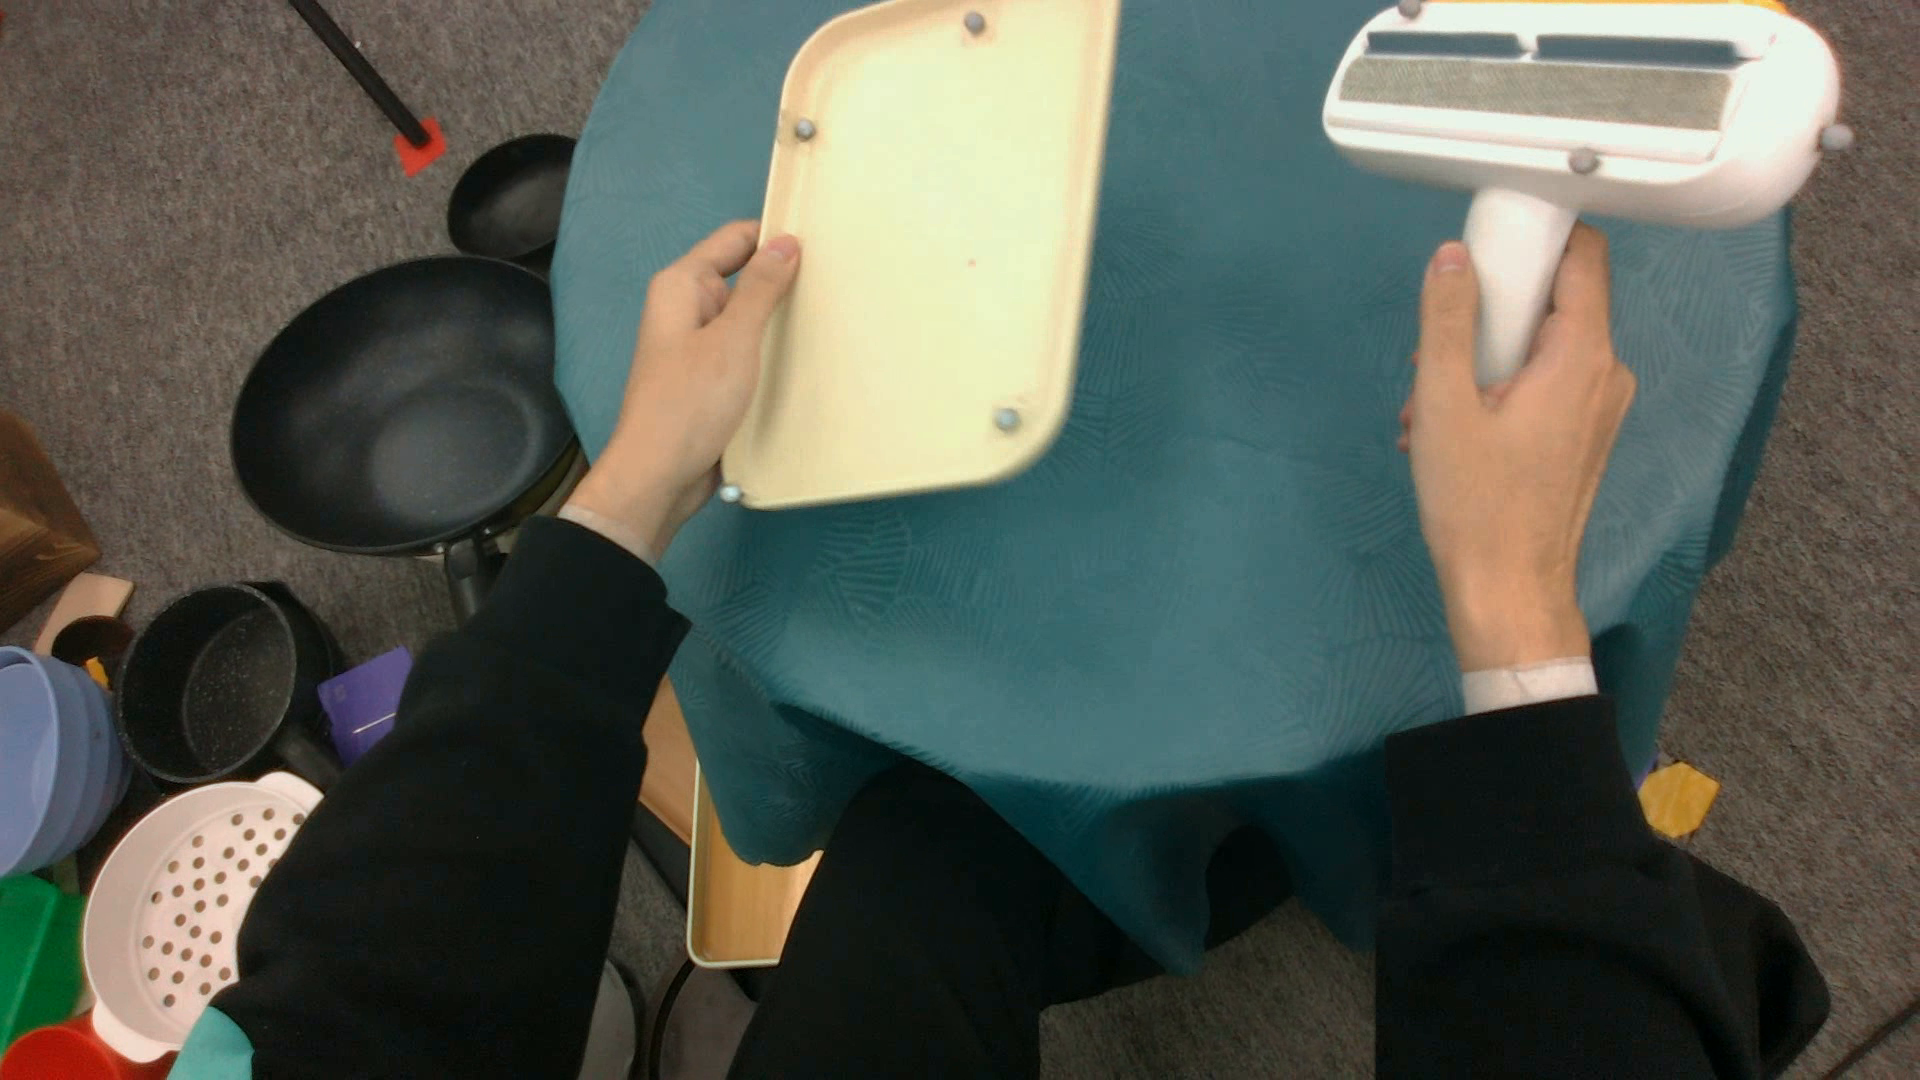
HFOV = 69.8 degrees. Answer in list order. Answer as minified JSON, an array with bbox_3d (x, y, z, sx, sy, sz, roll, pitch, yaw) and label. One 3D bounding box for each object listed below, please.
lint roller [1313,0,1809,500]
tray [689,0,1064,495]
[{"bbox_3d":[0.190,-0.106,0.507,0.193,0.074,0.192,42,121,53],"label":"lint roller"},{"bbox_3d":[-0.033,-0.135,0.561,0.171,0.017,0.240,-6,68,39],"label":"tray"}]
